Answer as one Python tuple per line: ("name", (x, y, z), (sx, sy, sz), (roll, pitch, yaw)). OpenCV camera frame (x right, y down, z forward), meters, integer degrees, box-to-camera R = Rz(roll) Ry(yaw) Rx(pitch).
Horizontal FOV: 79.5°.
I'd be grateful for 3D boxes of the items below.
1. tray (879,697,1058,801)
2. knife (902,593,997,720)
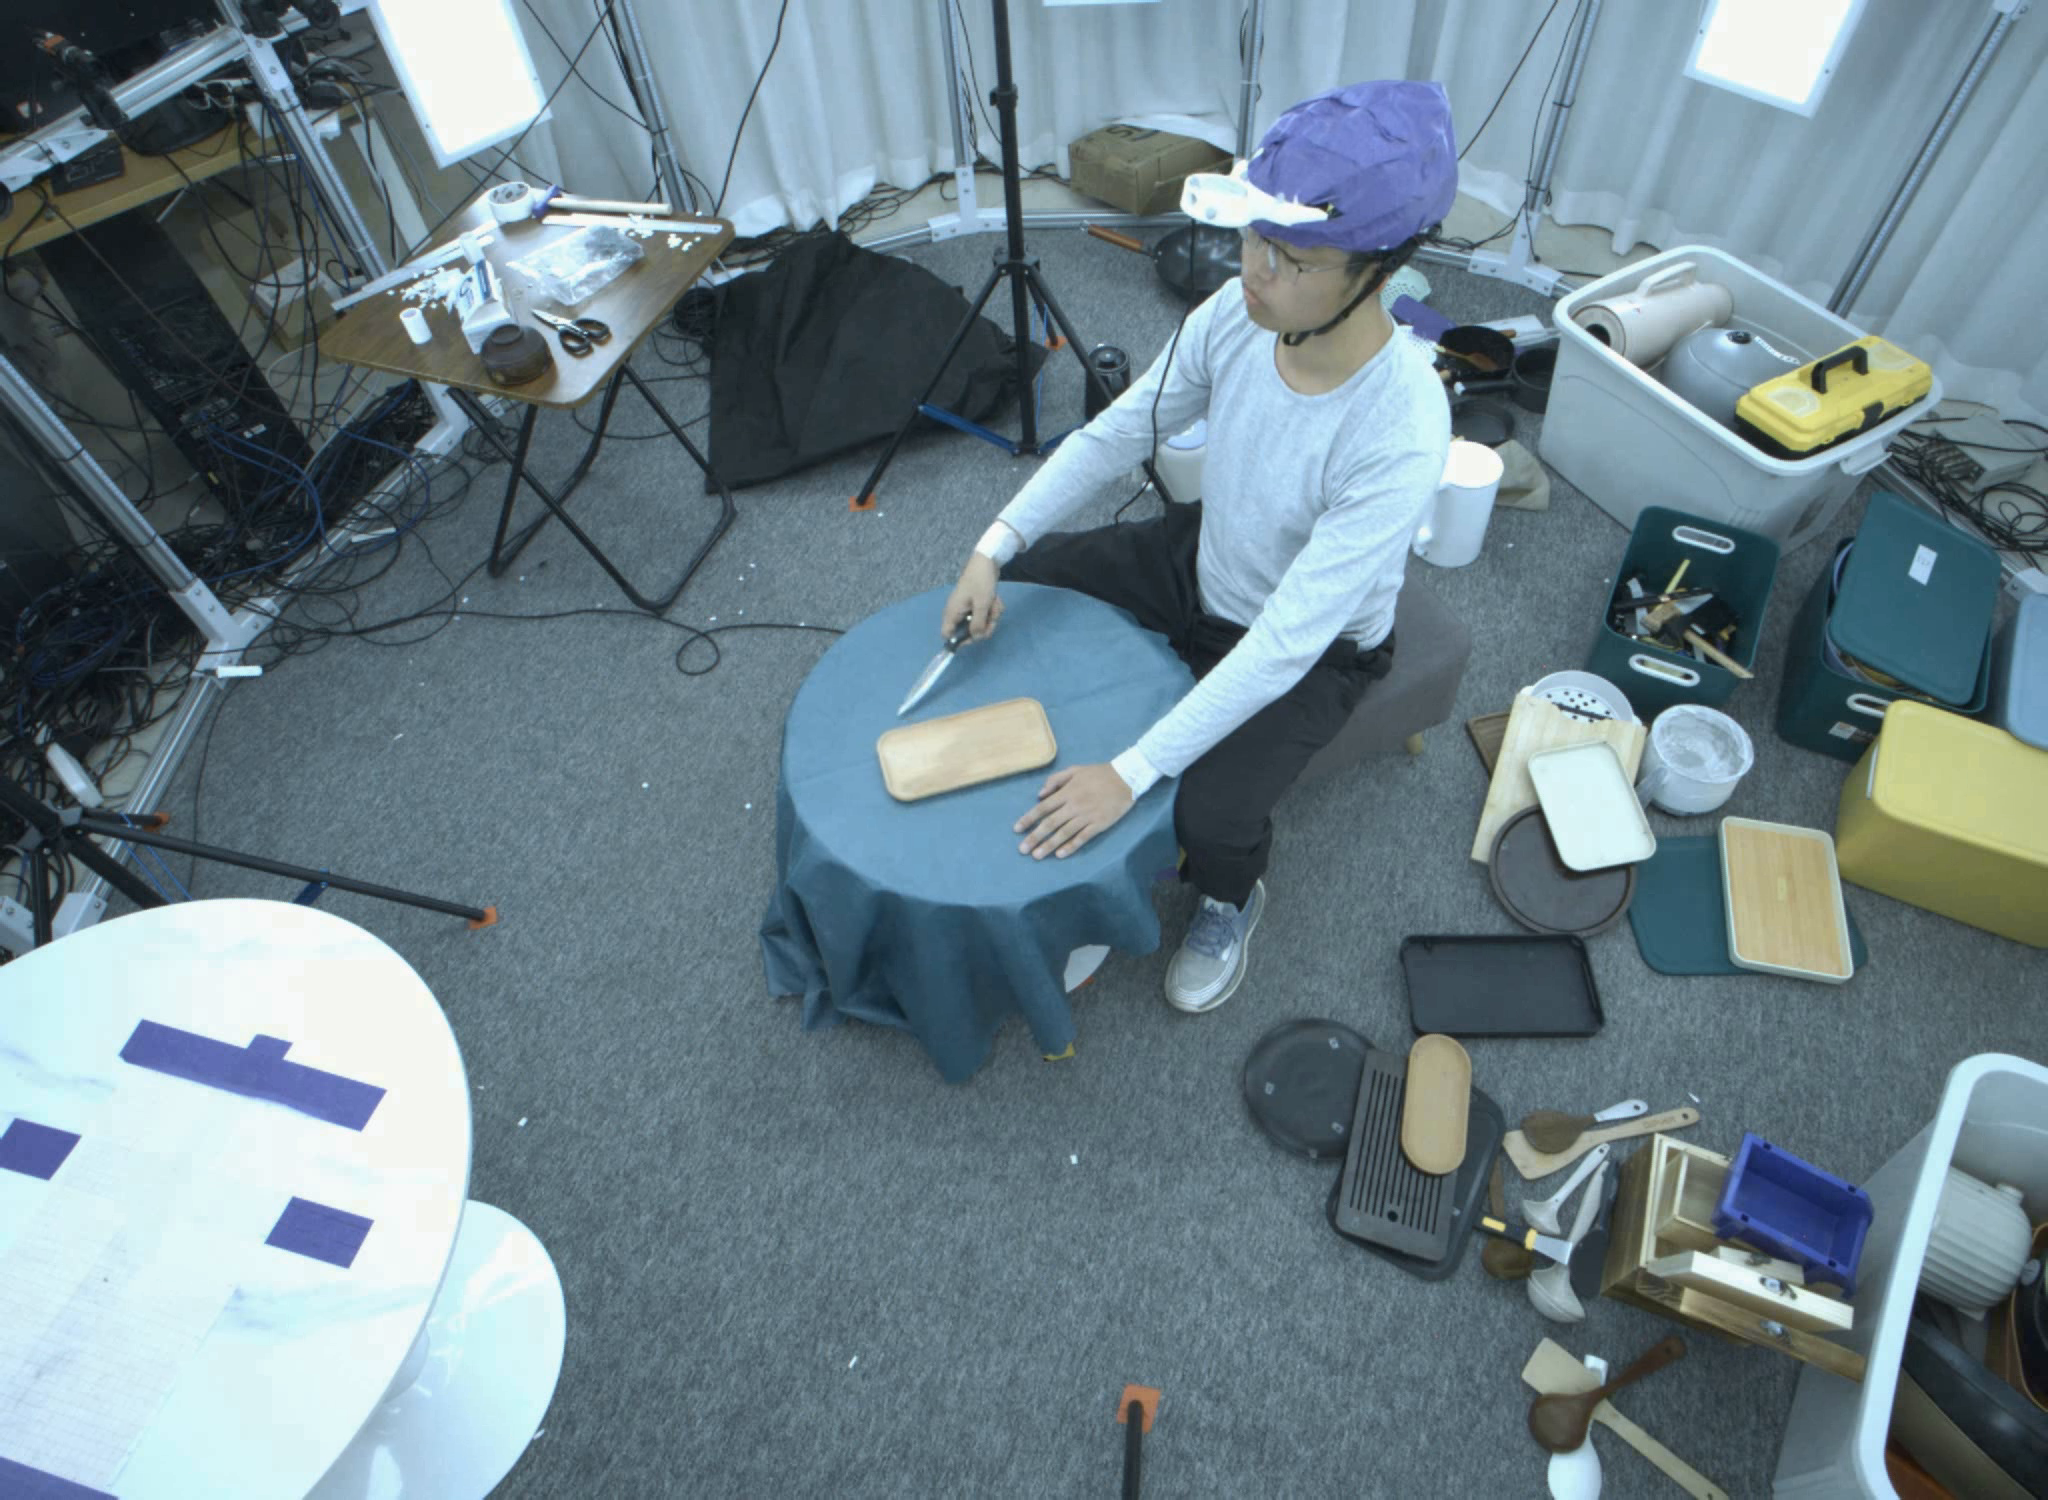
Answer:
("tray", (-0.082, -0.002, 1.788), (0.252, 0.023, 0.128), (-13, 58, -9))
("knife", (-0.116, -0.143, 1.849), (0.024, 0.016, 0.238), (33, 81, 13))
